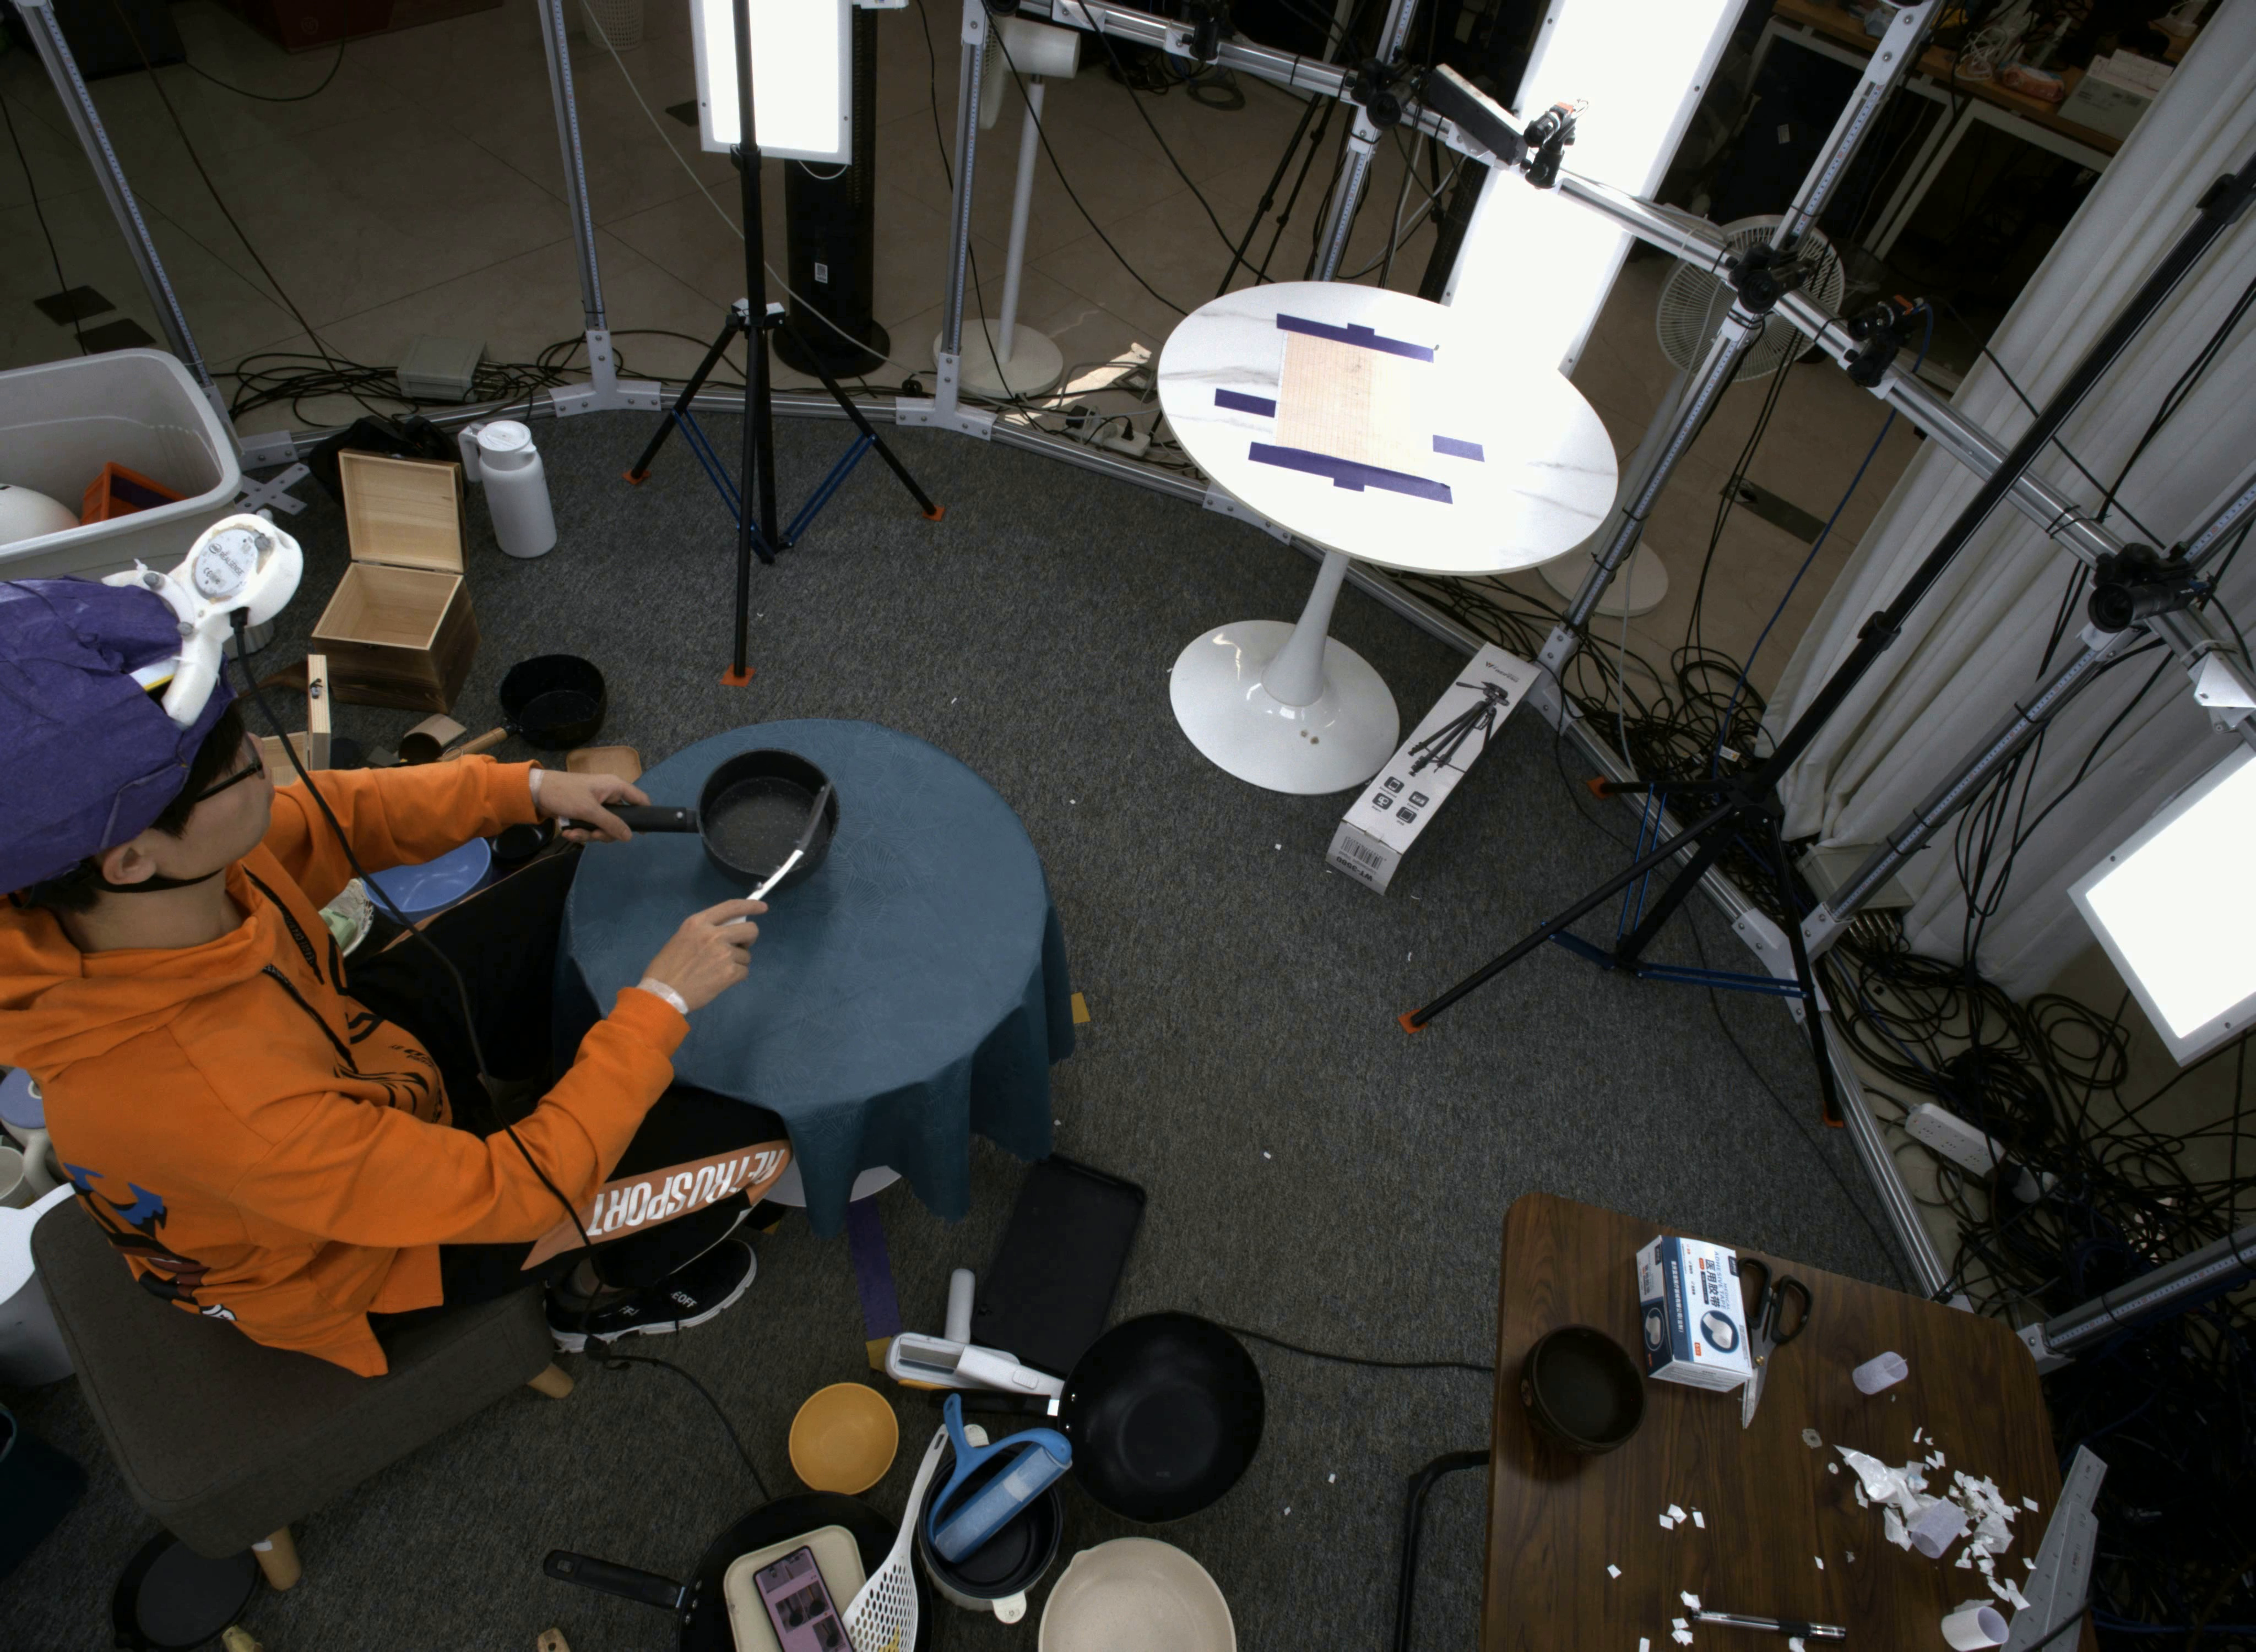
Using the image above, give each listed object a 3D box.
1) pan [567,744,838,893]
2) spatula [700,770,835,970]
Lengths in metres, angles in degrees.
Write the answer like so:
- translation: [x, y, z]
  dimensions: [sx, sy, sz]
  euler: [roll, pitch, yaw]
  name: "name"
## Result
- translation: [-0.523, -0.008, 1.573]
  dimensions: [0.331, 0.087, 0.170]
  euler: [1, 67, -20]
  name: "pan"
- translation: [-0.404, 0.045, 1.488]
  dimensions: [0.032, 0.058, 0.285]
  euler: [33, 49, -10]
  name: "spatula"
